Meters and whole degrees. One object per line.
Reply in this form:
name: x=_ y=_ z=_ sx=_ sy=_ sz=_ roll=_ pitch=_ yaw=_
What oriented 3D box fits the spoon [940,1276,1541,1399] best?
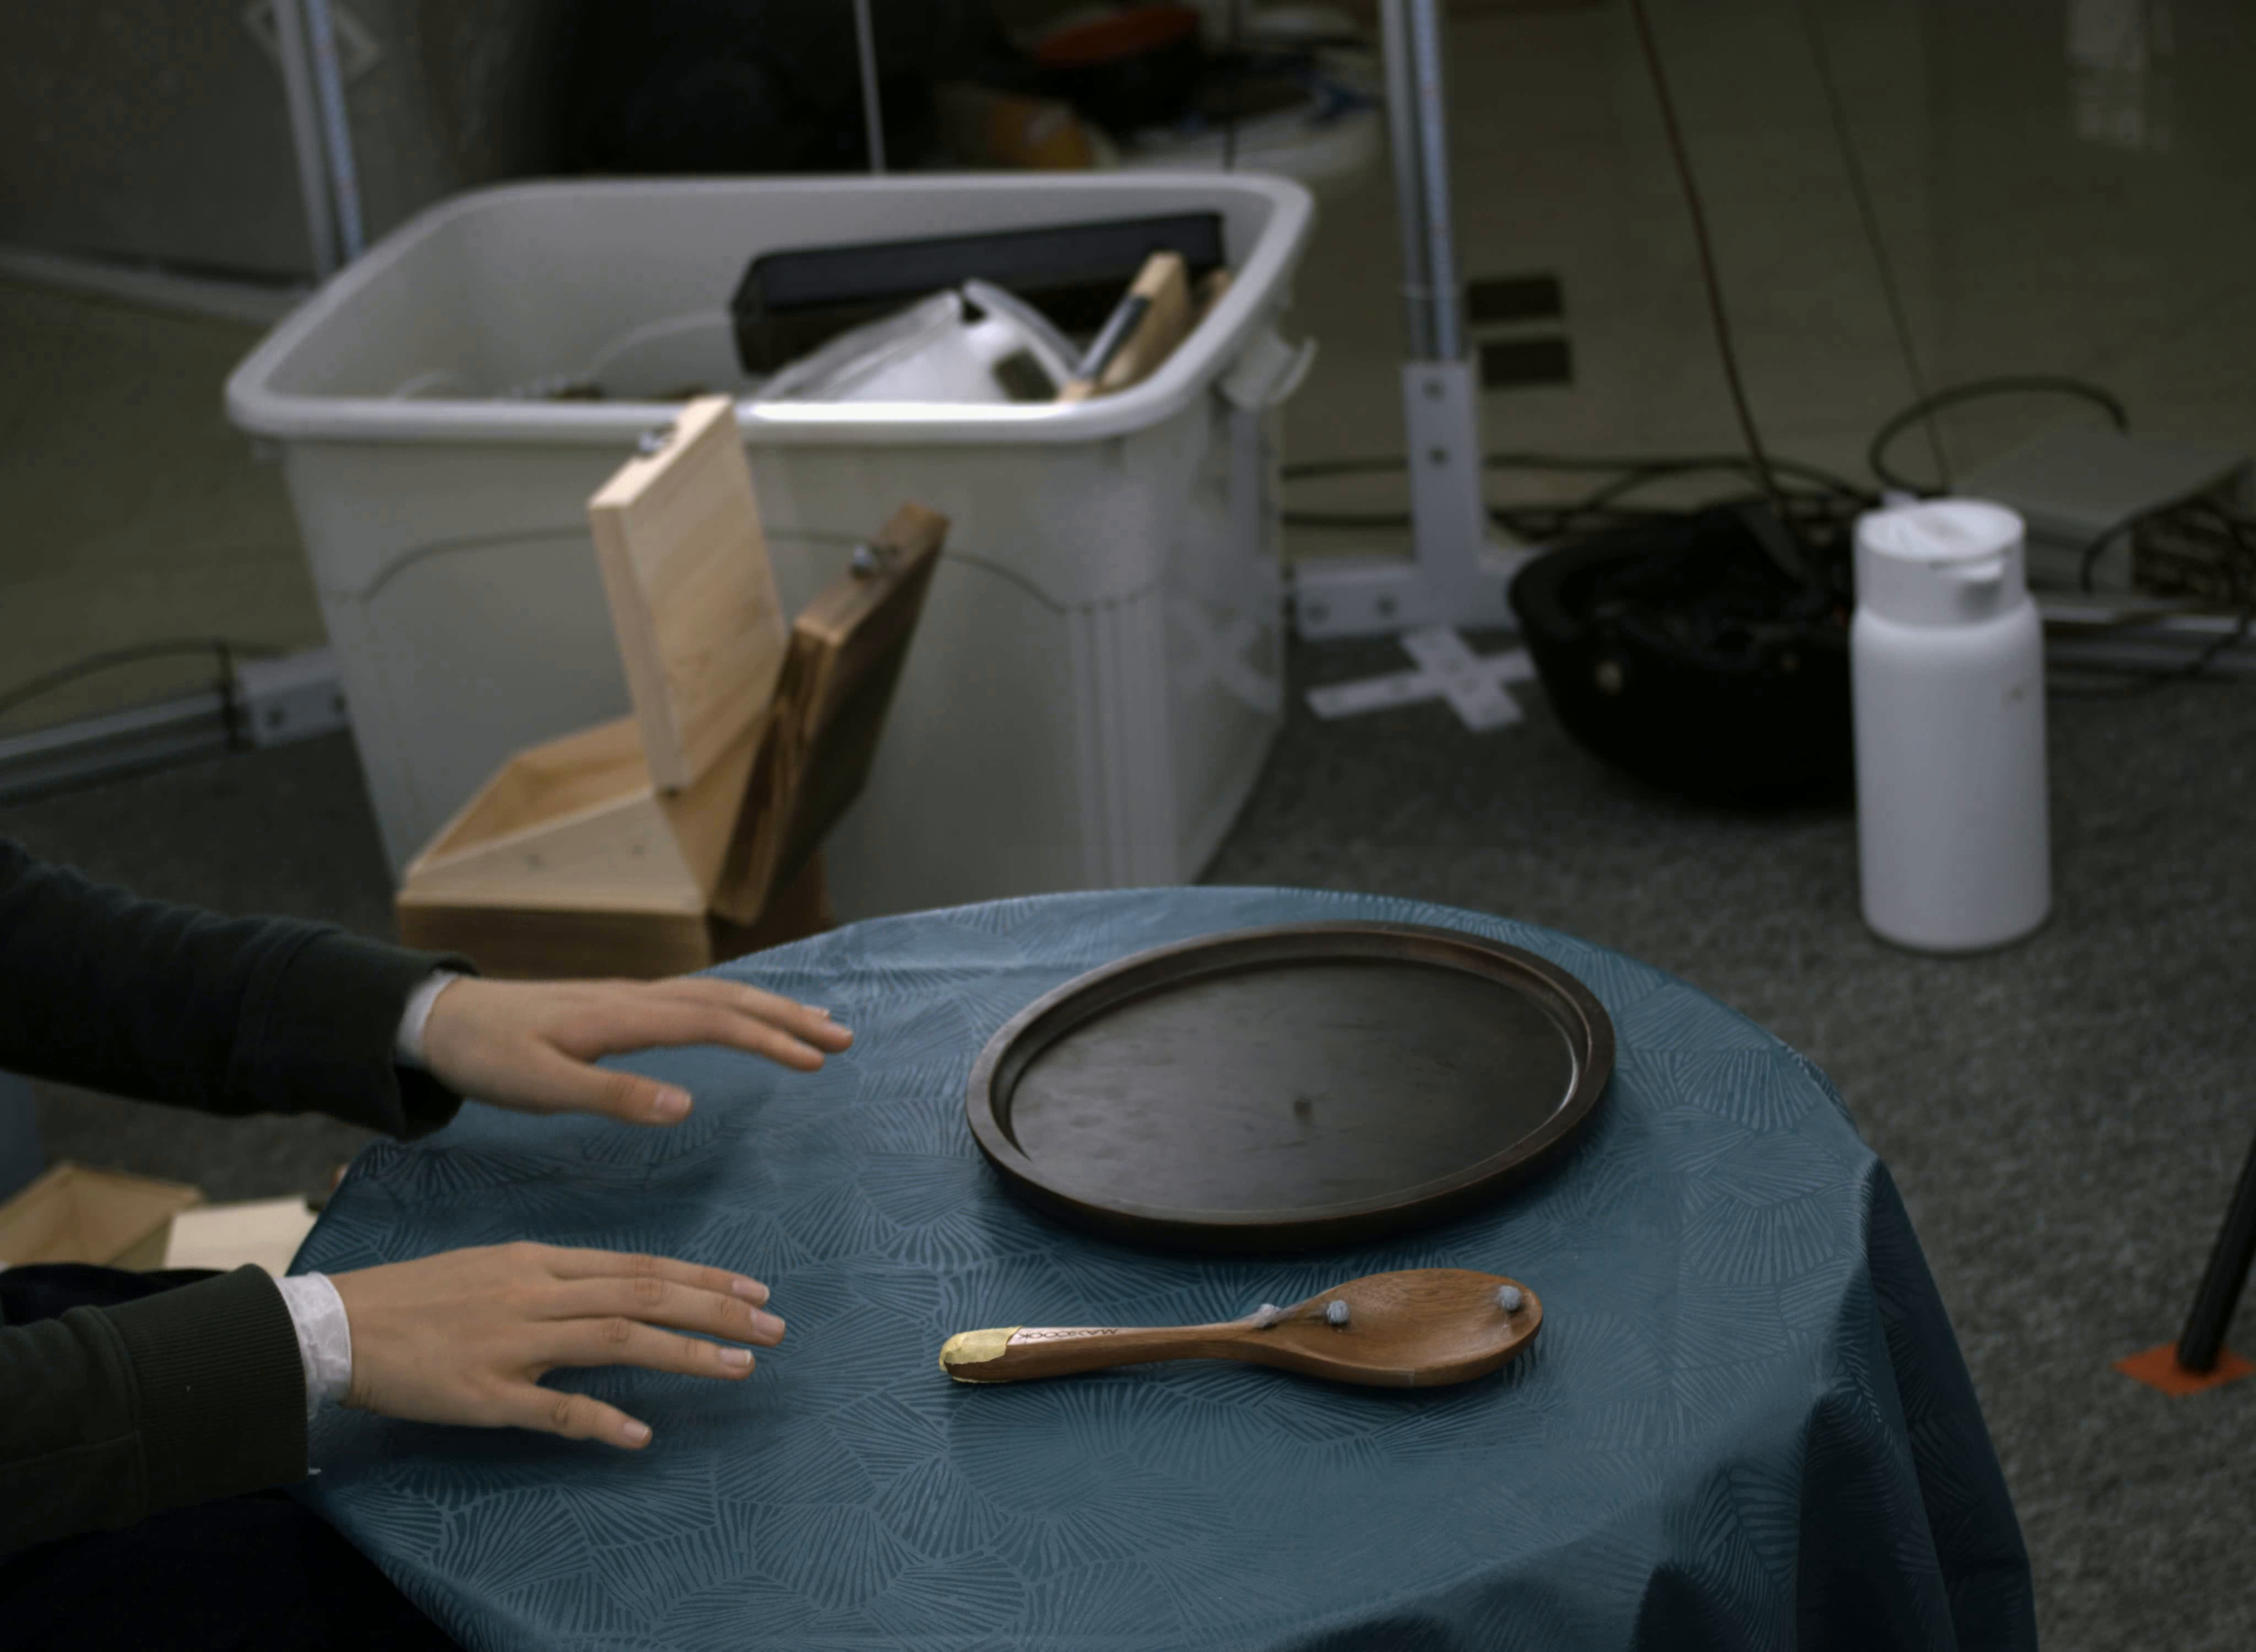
spoon: x=0.040 y=0.187 z=2.022 sx=0.215 sy=0.017 sz=0.074 roll=-3 pitch=25 yaw=7

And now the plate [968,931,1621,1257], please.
plate: x=0.064 y=0.102 z=2.191 sx=0.254 sy=0.029 sz=0.251 roll=-4 pitch=24 yaw=2
